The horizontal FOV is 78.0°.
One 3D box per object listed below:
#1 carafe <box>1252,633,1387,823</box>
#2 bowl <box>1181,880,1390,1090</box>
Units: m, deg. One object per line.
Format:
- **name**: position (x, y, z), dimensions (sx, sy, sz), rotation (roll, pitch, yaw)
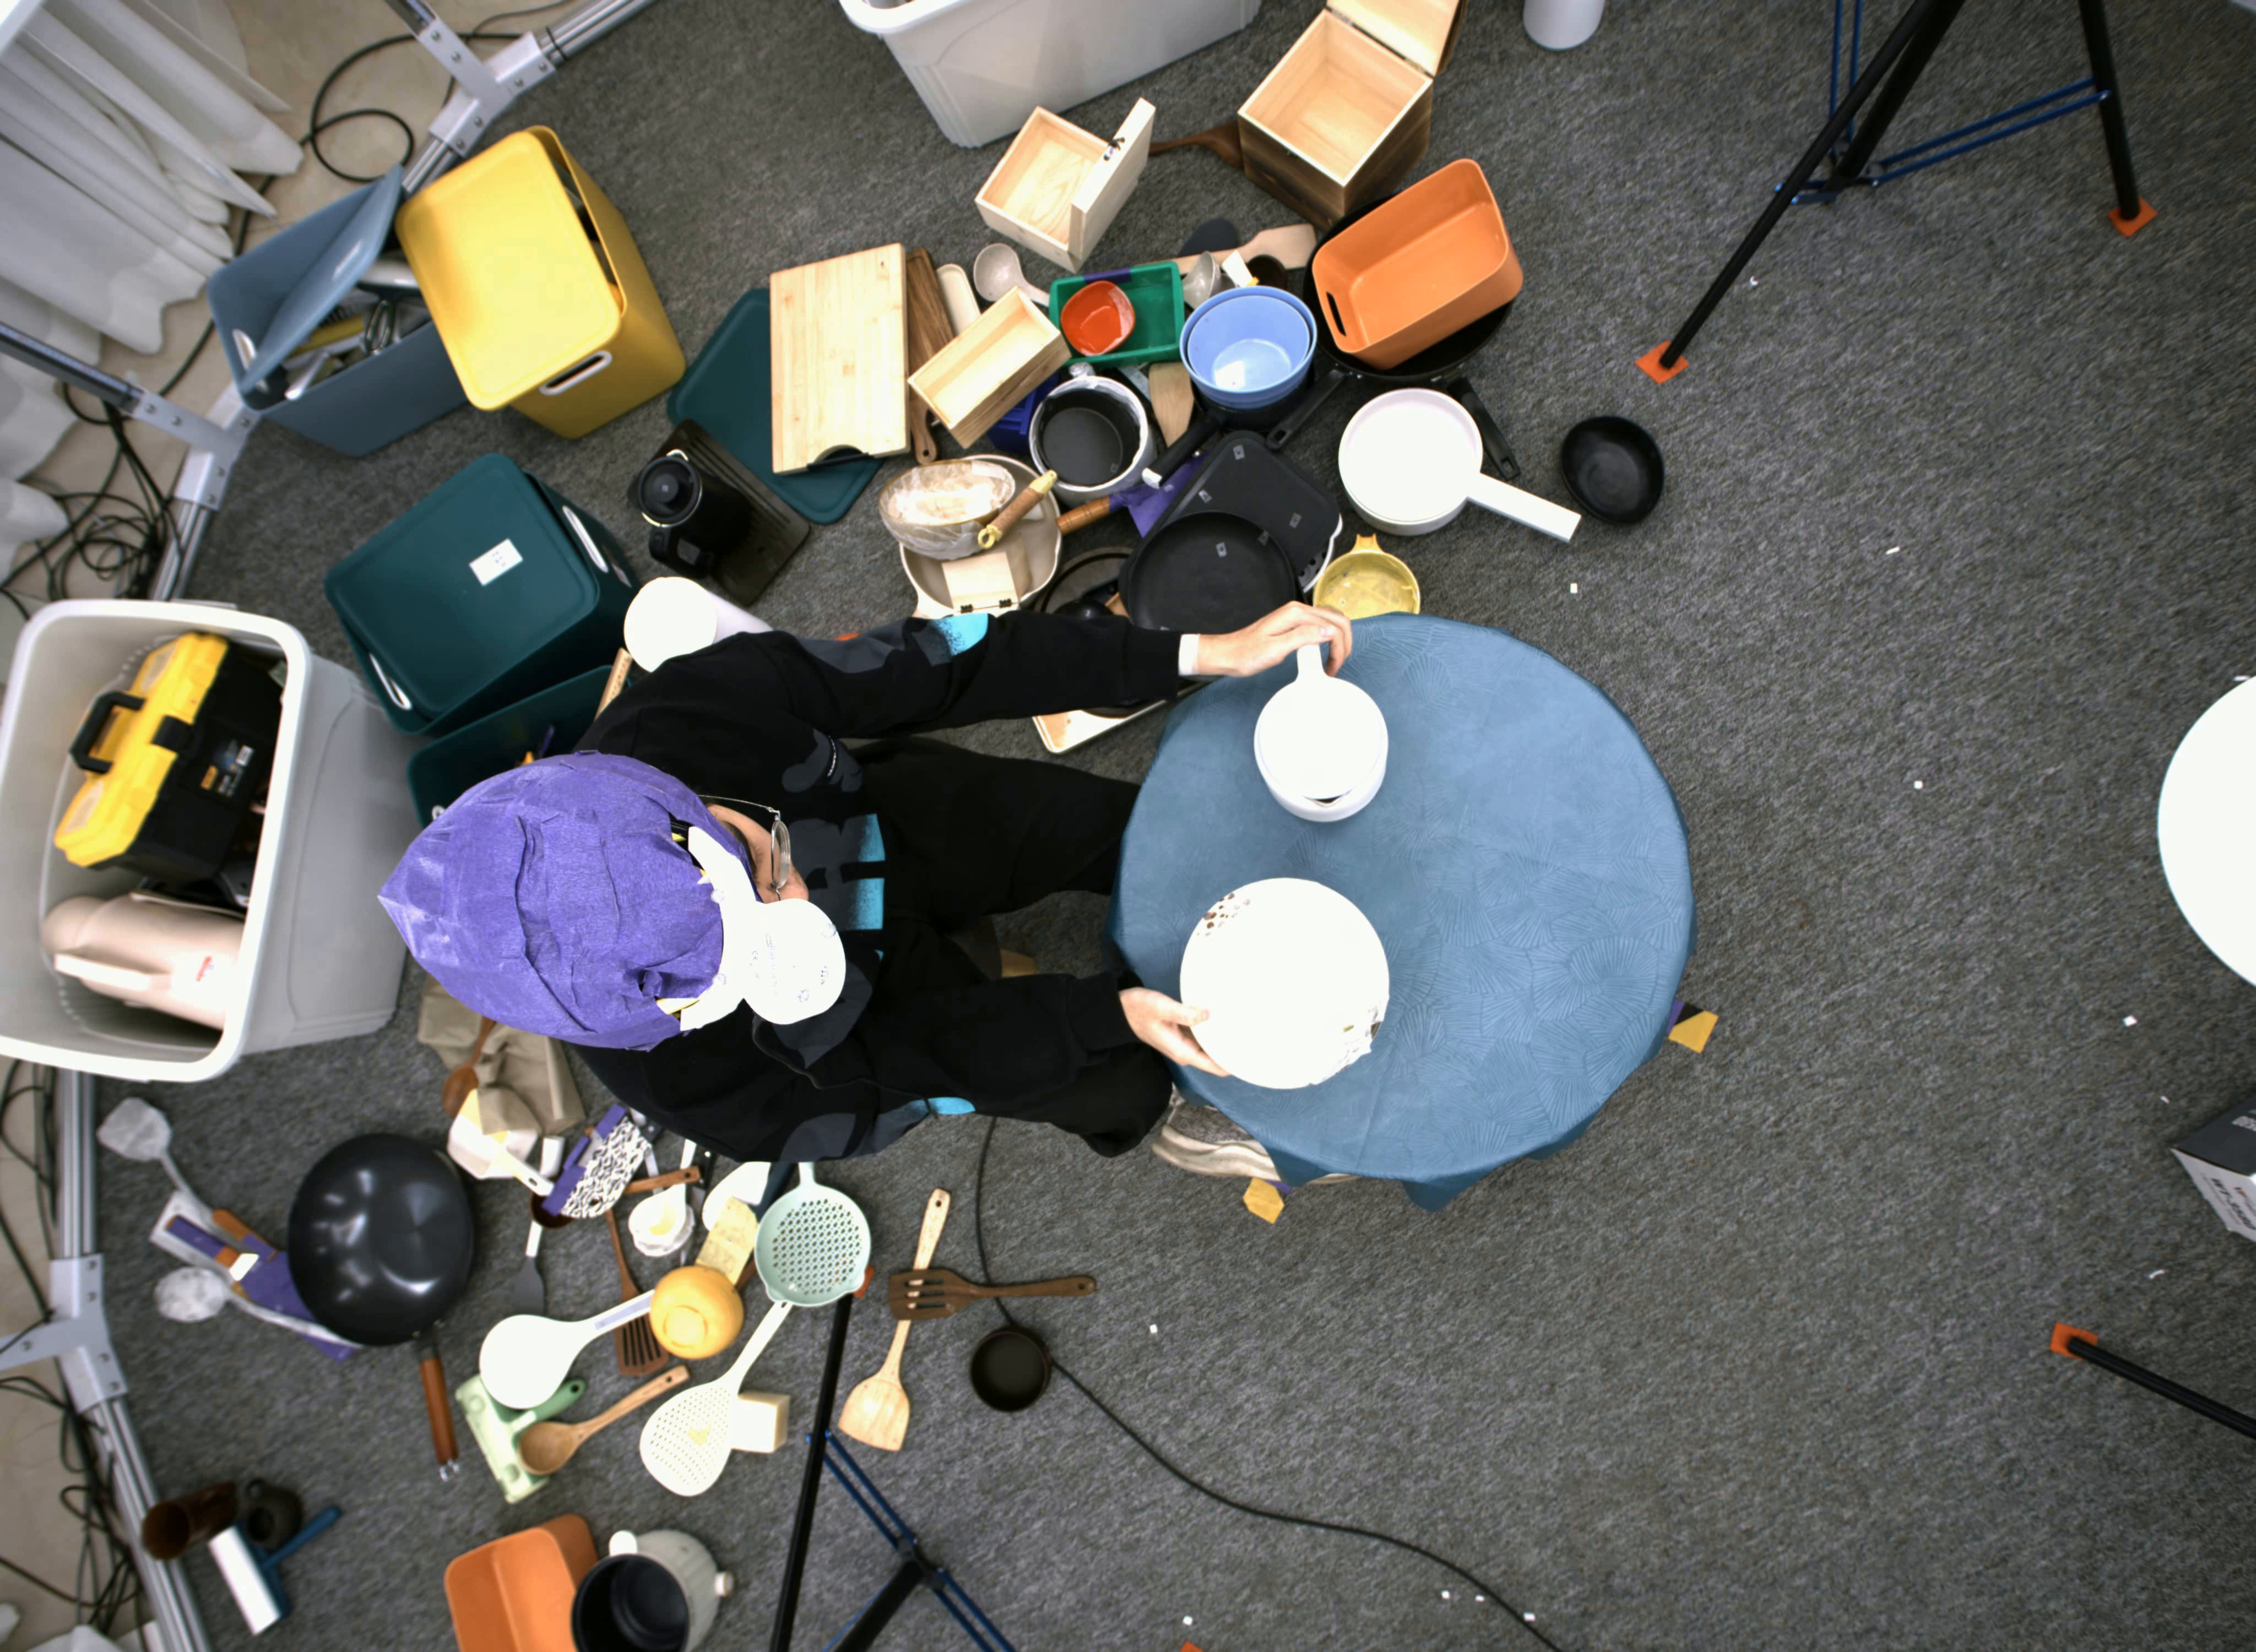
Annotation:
- **carafe**: position (0.190, -0.101, 1.392), dimensions (0.133, 0.183, 0.189), rotation (-10, 82, 8)
- **bowl**: position (0.160, 0.157, 1.376), dimensions (0.205, 0.078, 0.202), rotation (-2, 84, 15)
